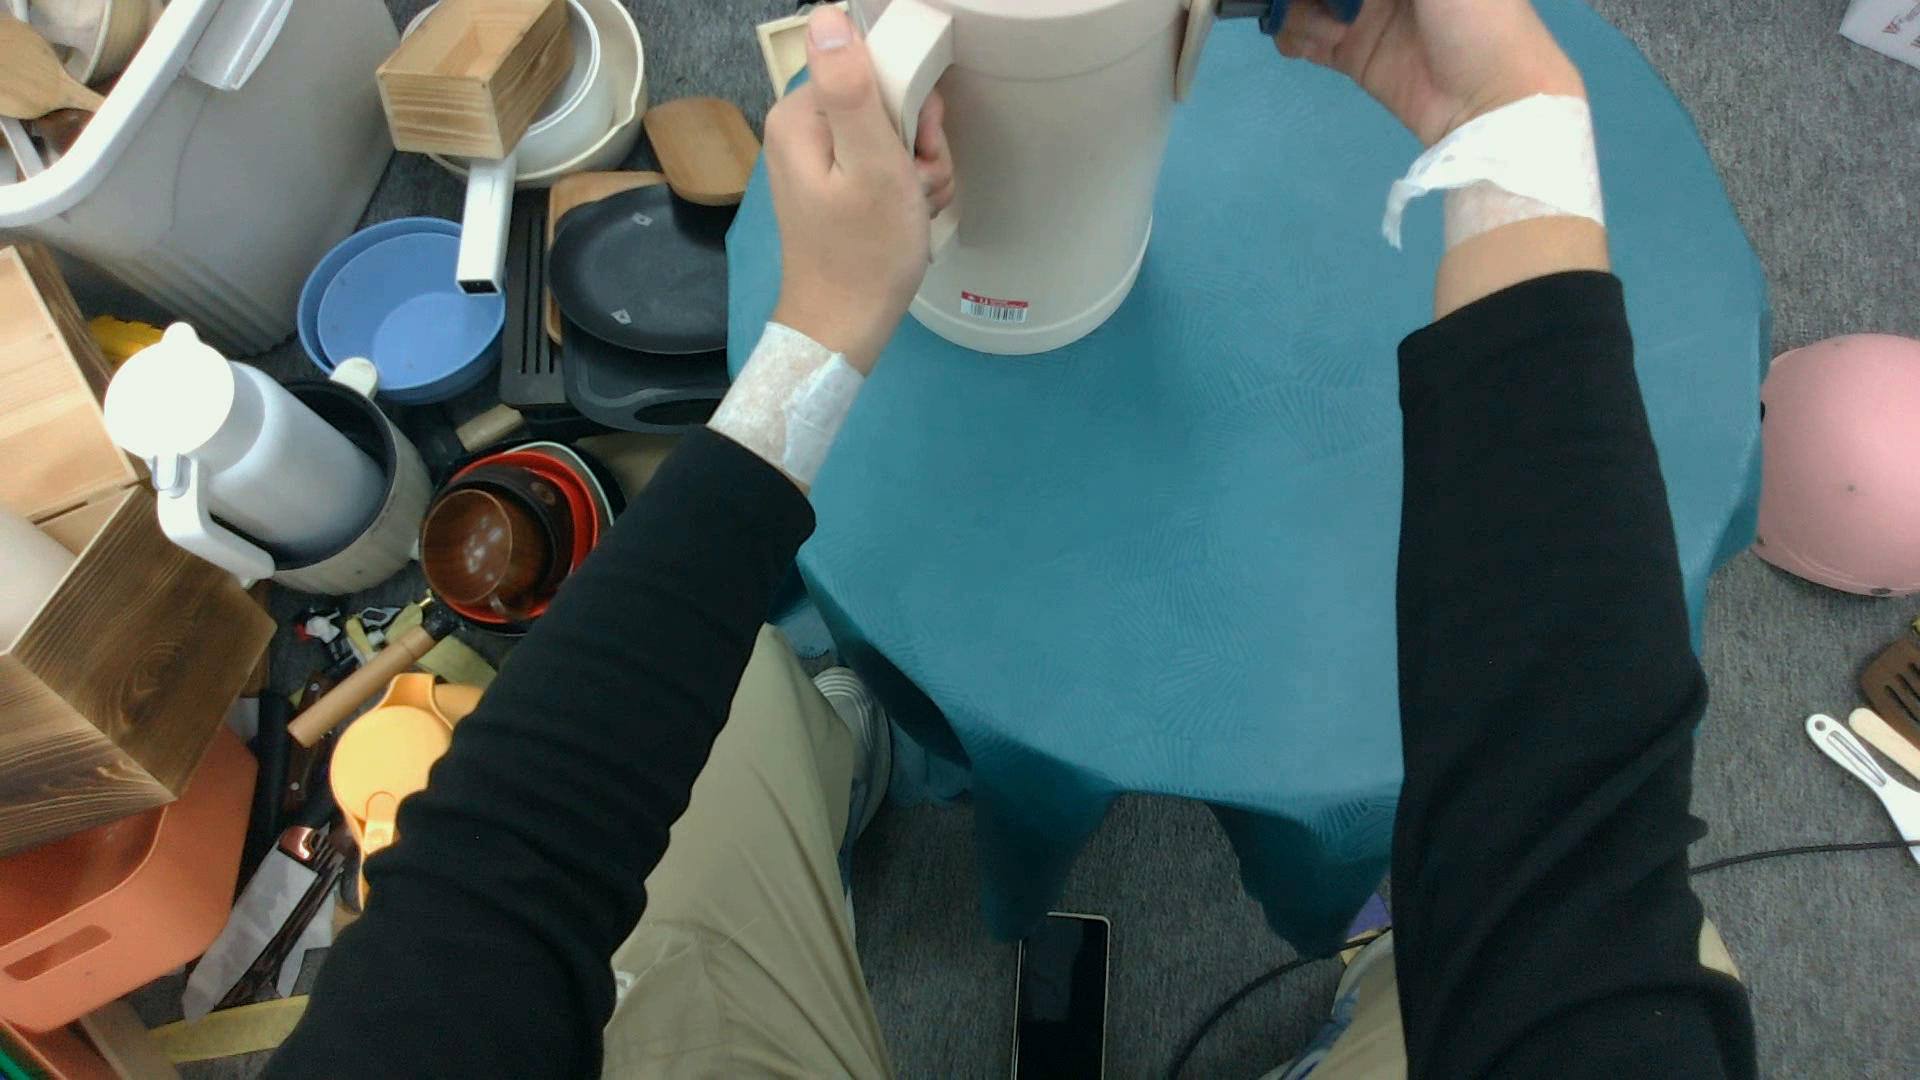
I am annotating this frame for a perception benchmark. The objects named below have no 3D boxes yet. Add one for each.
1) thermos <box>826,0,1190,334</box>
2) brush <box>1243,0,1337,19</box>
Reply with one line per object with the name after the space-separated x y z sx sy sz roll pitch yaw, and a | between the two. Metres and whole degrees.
0.009 -0.236 0.620 0.175 0.405 0.207 29 75 6 | thermos
0.125 -0.269 0.553 0.061 0.068 0.122 5 77 2 | brush
